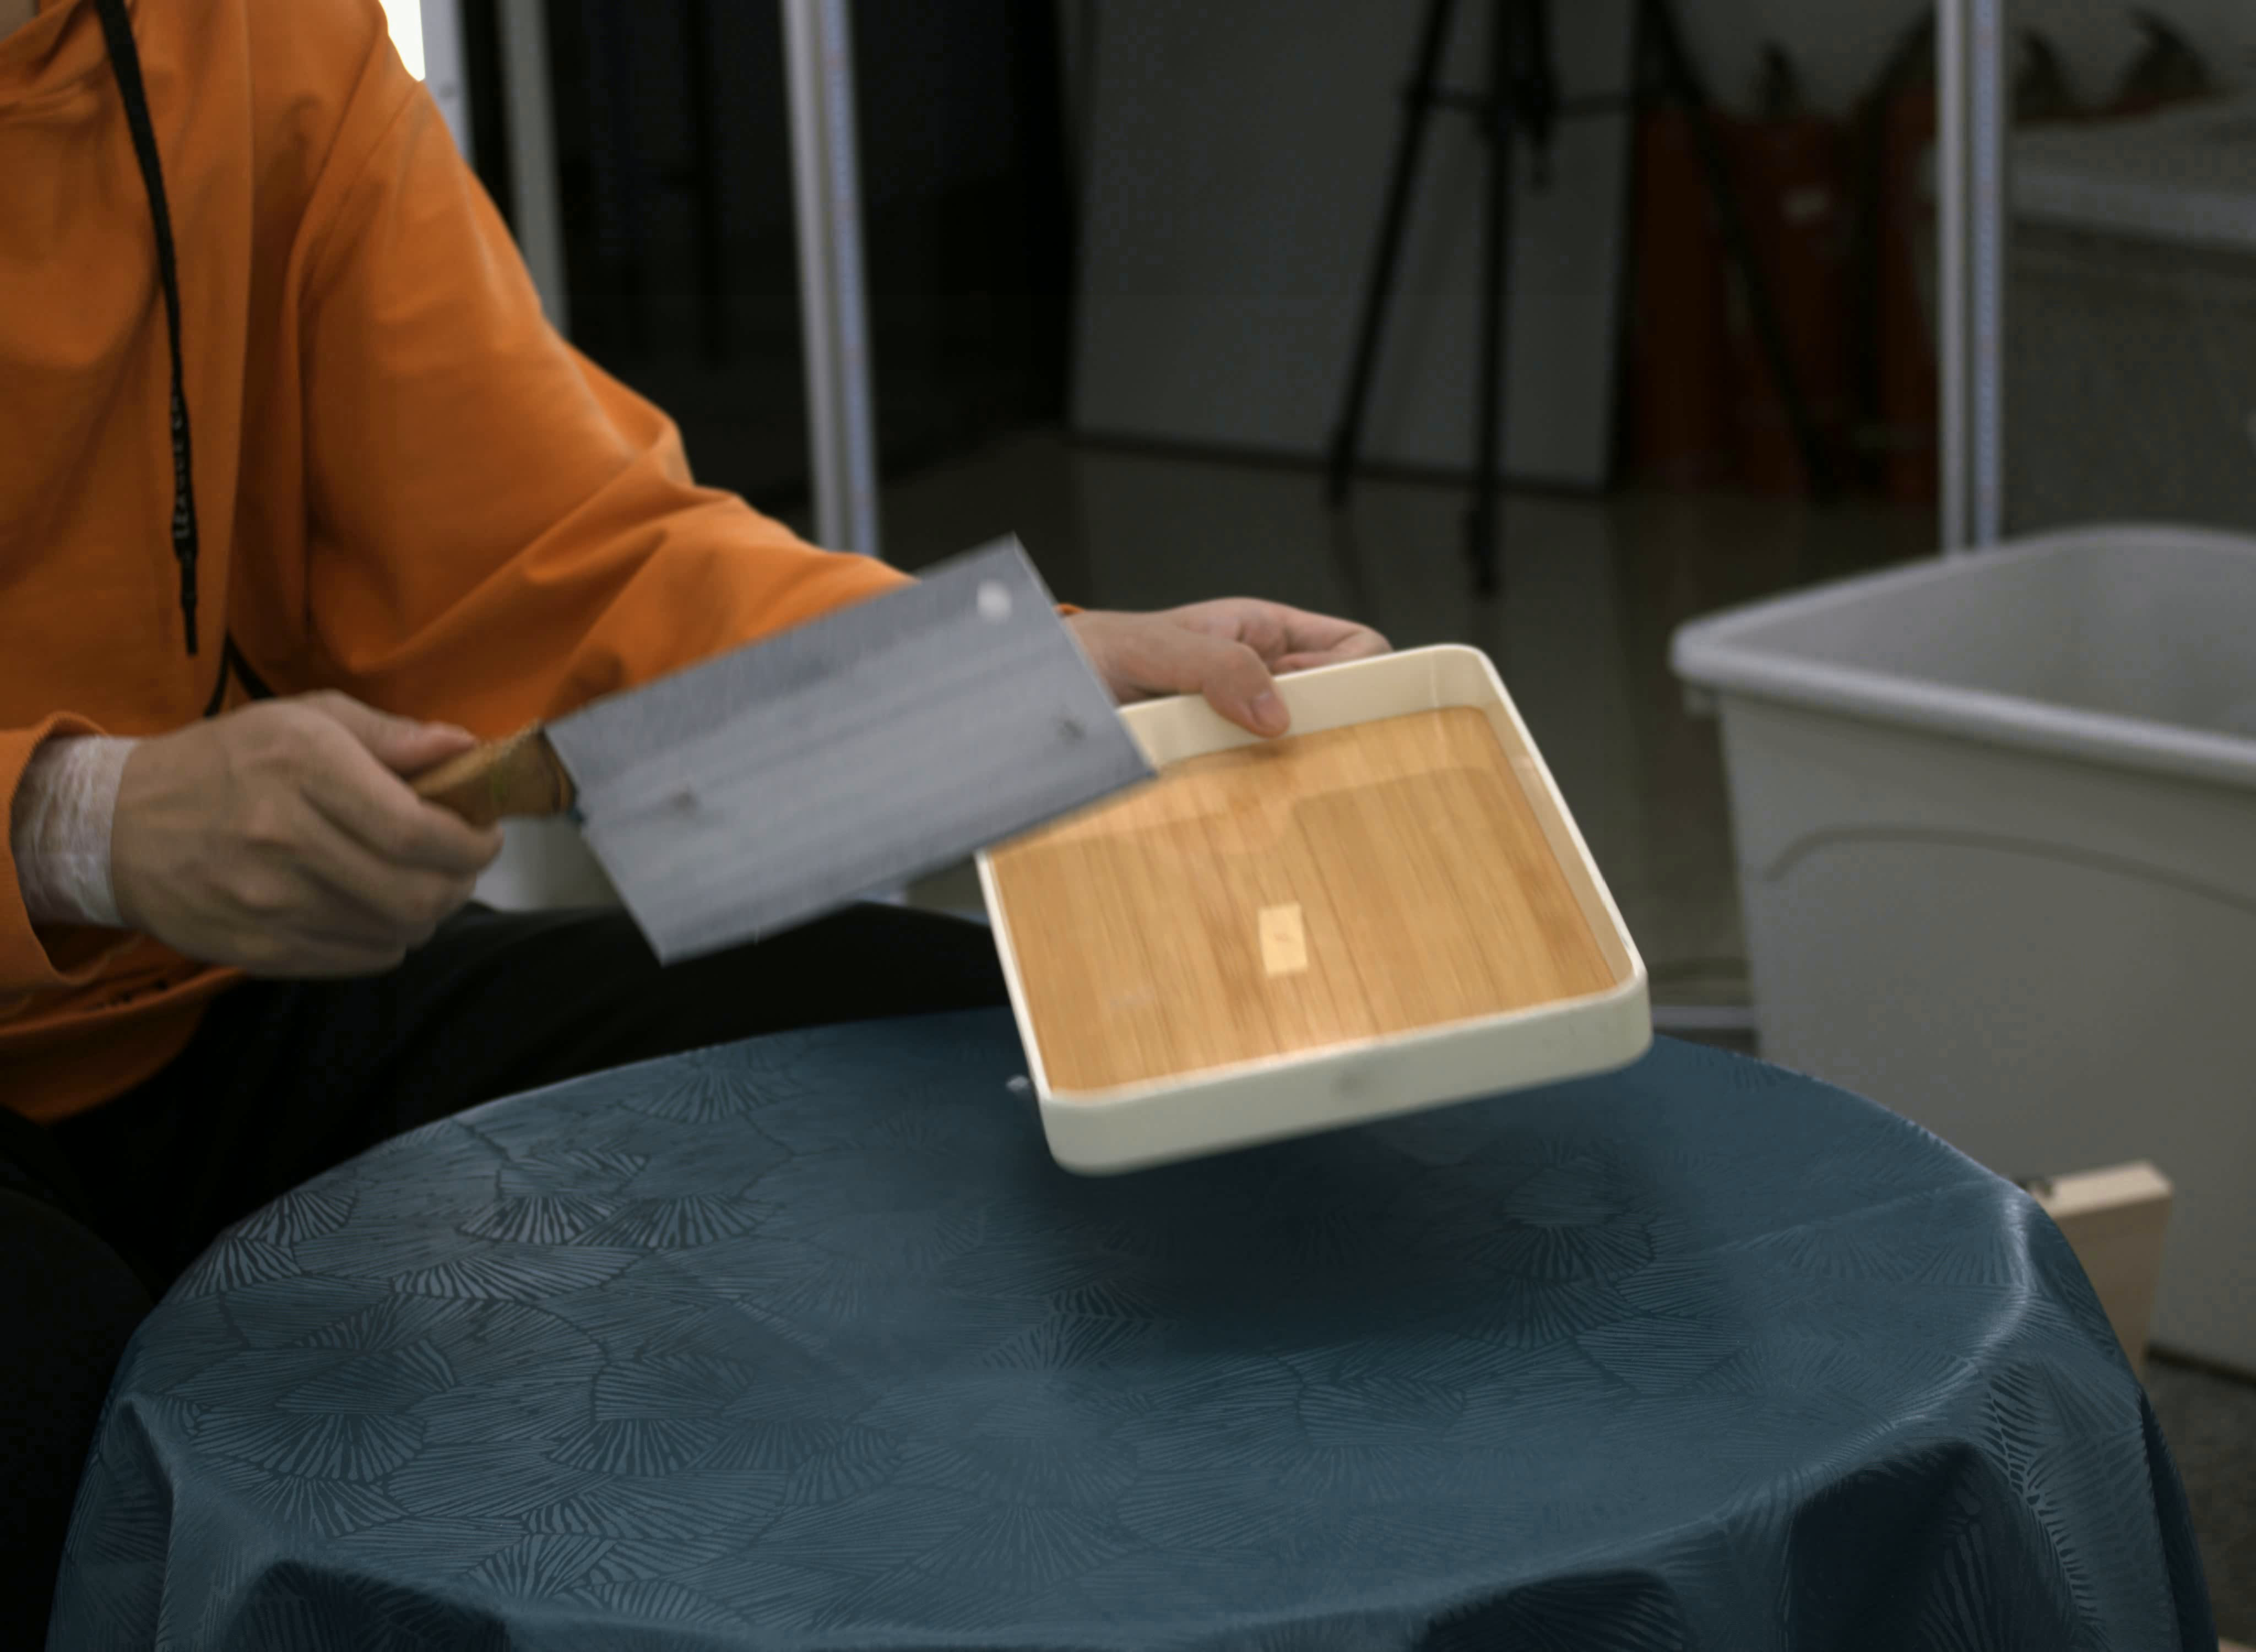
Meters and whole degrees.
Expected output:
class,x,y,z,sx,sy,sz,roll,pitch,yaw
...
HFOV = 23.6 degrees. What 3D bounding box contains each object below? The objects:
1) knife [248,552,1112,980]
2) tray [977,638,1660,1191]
class,x,y,z,sx,sy,sz,roll,pitch,yaw
knife,-0.137,0.000,1.658,0.307,0.093,0.021,-20,21,31
tray,0.053,0.023,1.742,0.189,0.027,0.302,-13,24,-1
